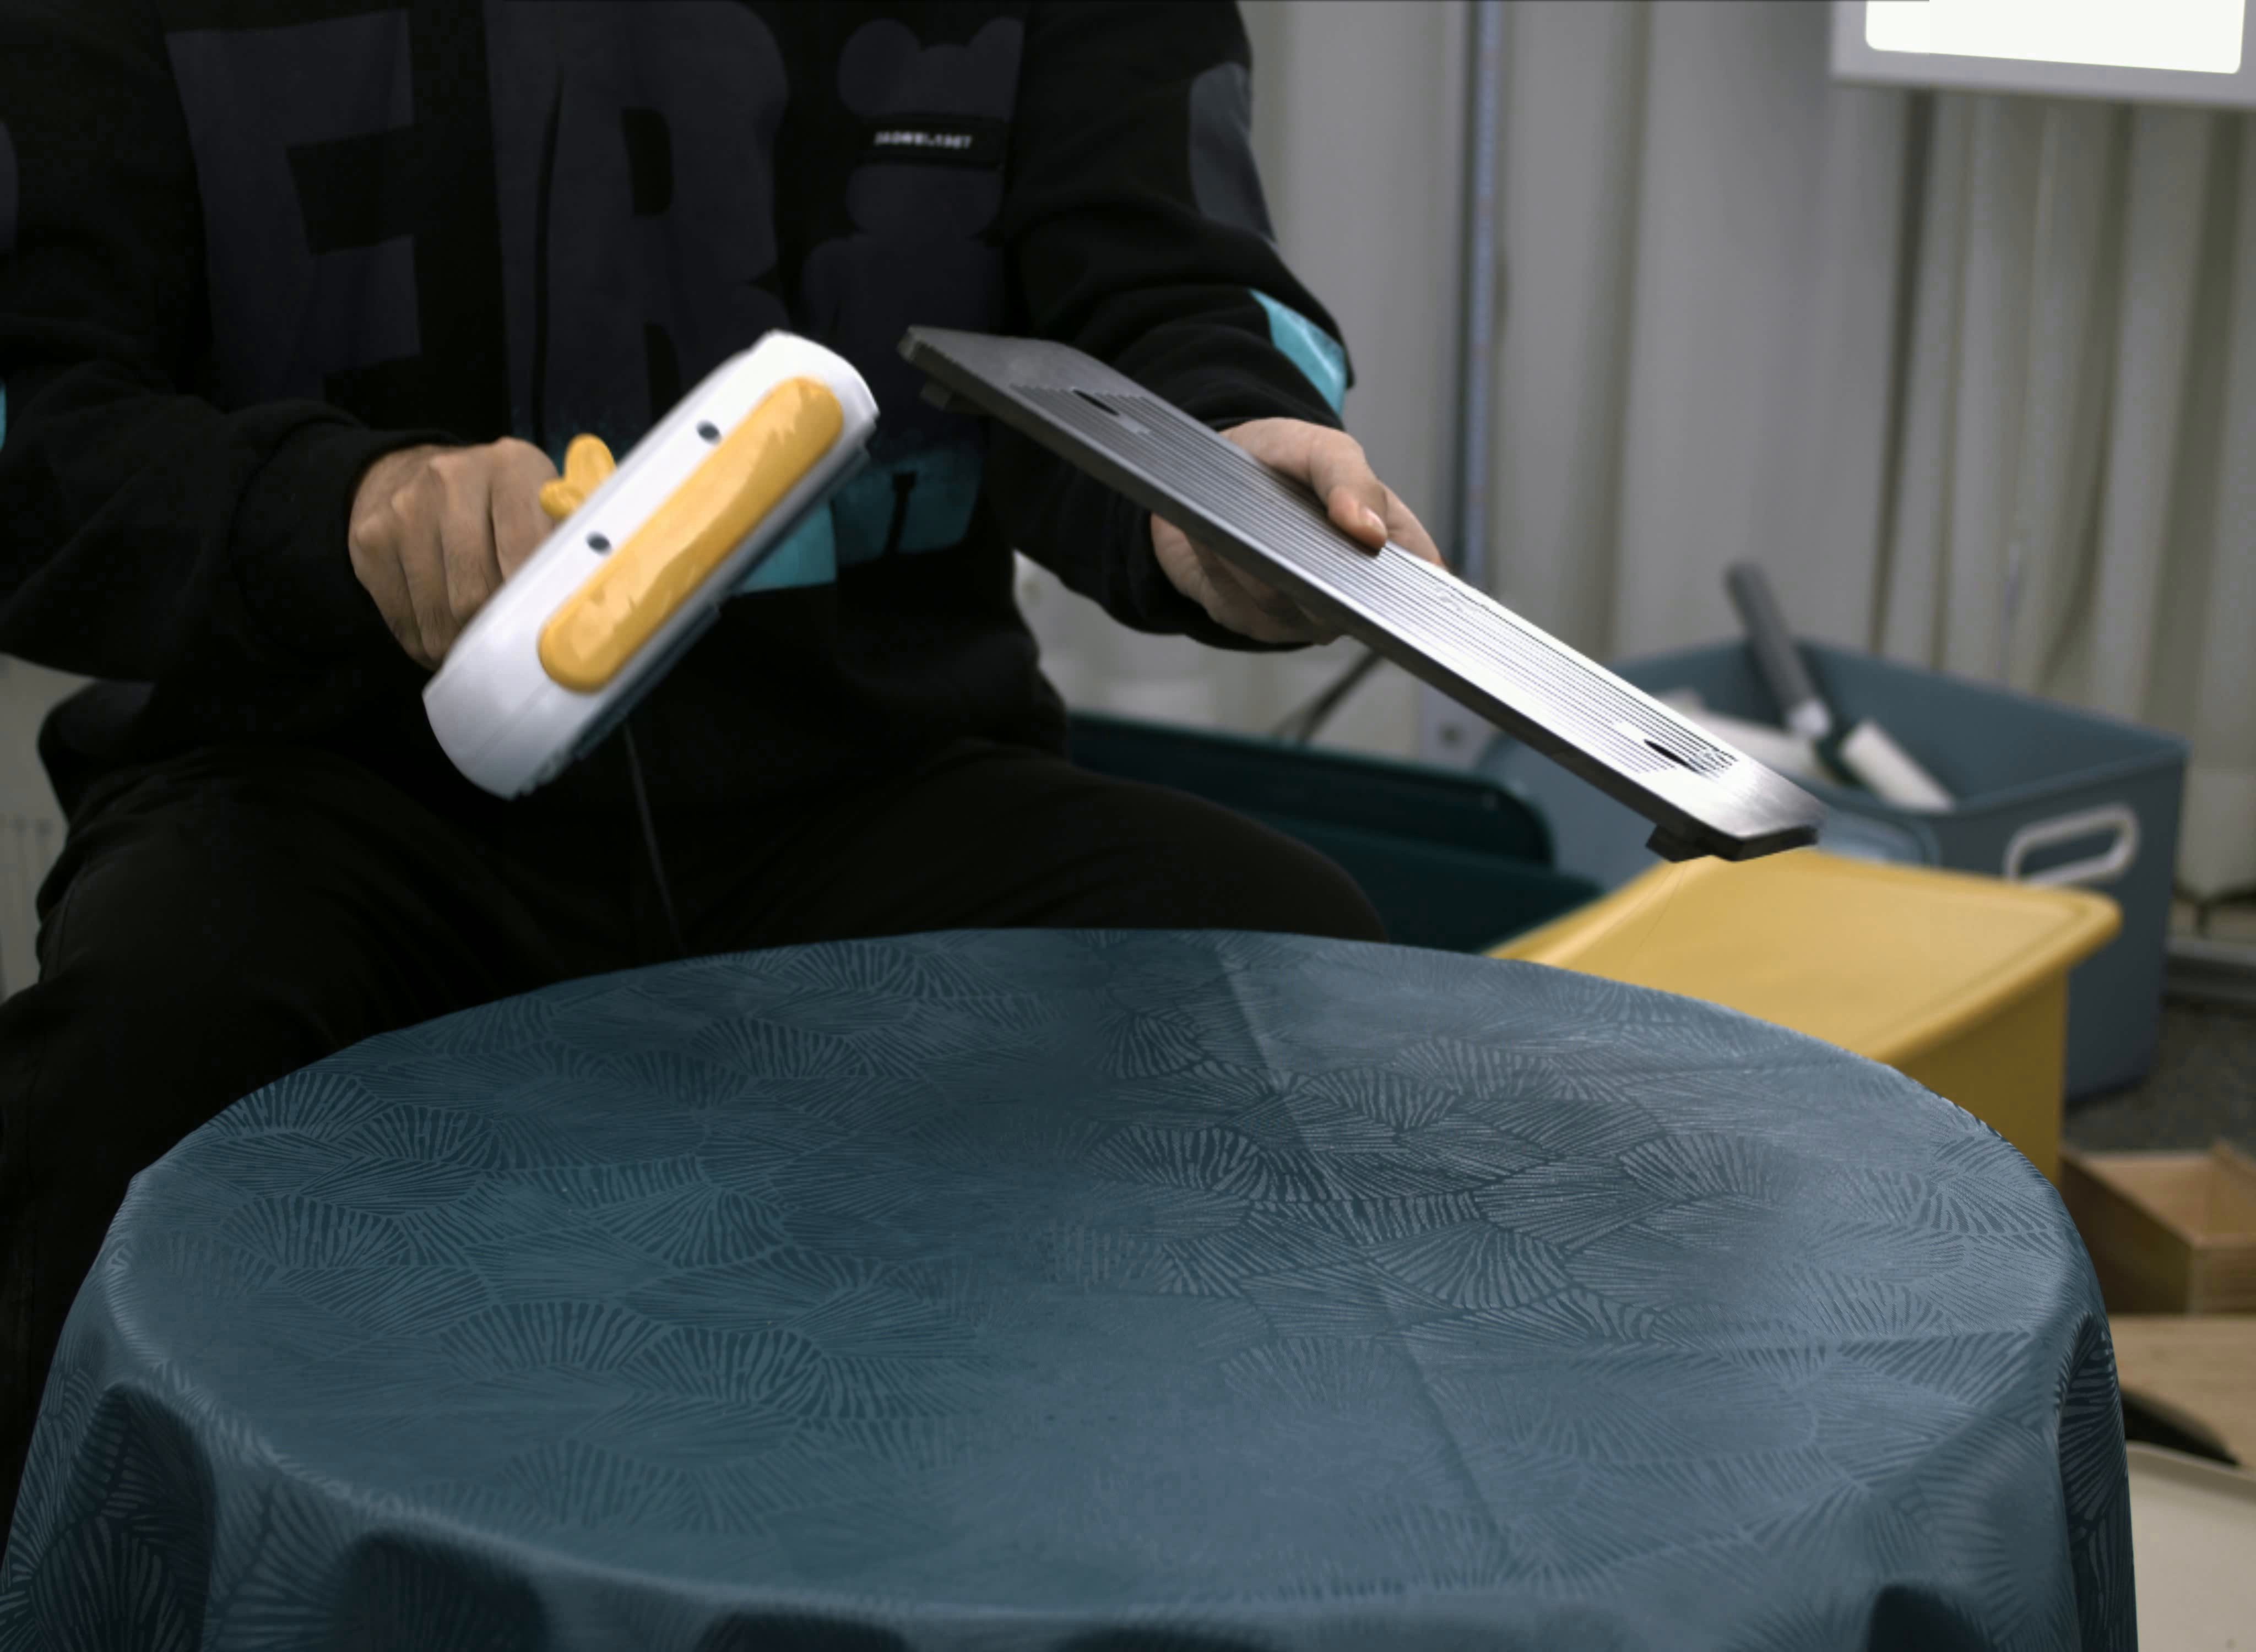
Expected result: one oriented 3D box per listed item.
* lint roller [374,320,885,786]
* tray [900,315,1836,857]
[{"bbox_3d":[-0.186,-0.081,1.754,0.191,0.075,0.192,-24,27,53],"label":"lint roller"},{"bbox_3d":[0.076,-0.073,1.643,0.303,0.018,0.171,33,12,13],"label":"tray"}]
